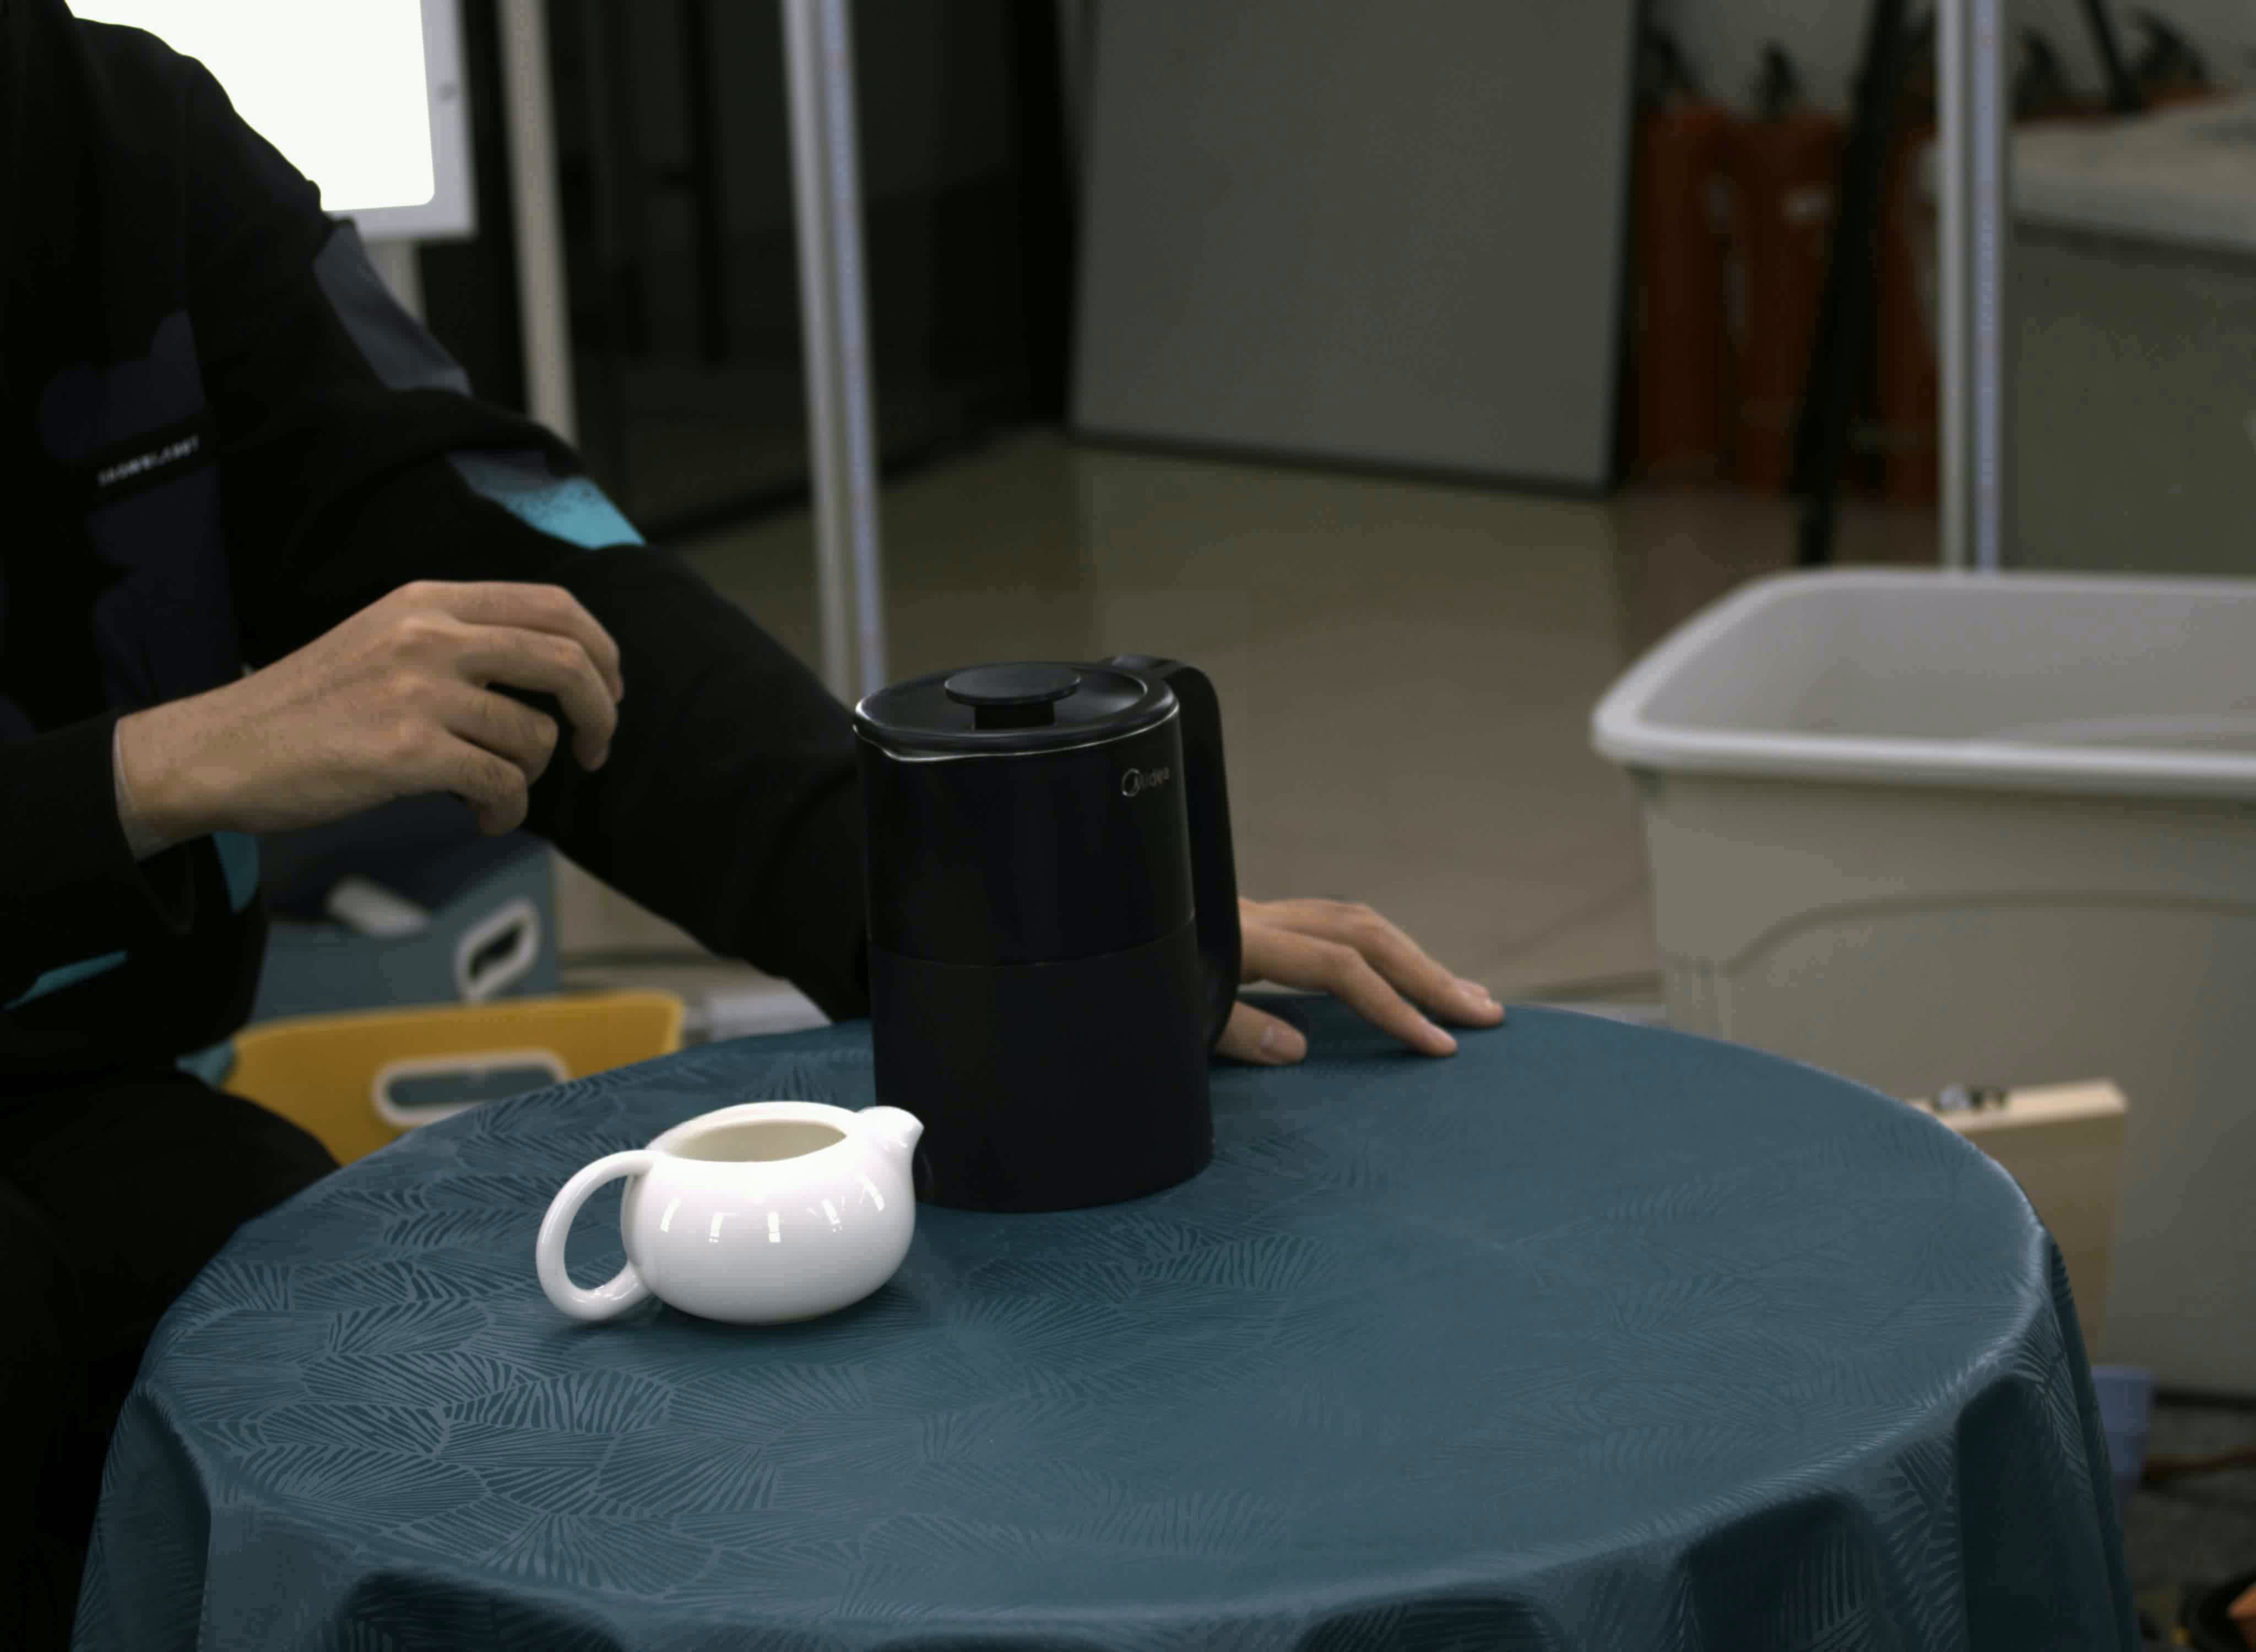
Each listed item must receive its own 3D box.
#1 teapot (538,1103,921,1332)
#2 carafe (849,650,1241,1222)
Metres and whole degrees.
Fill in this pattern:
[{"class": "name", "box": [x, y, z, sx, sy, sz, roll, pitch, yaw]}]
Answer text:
[{"class": "teapot", "box": [-0.122, 0.124, 1.682, 0.124, 0.057, 0.094, -11, 19, -22]}, {"class": "carafe", "box": [-0.021, 0.026, 1.806, 0.115, 0.175, 0.169, 3, 17, 33]}]
